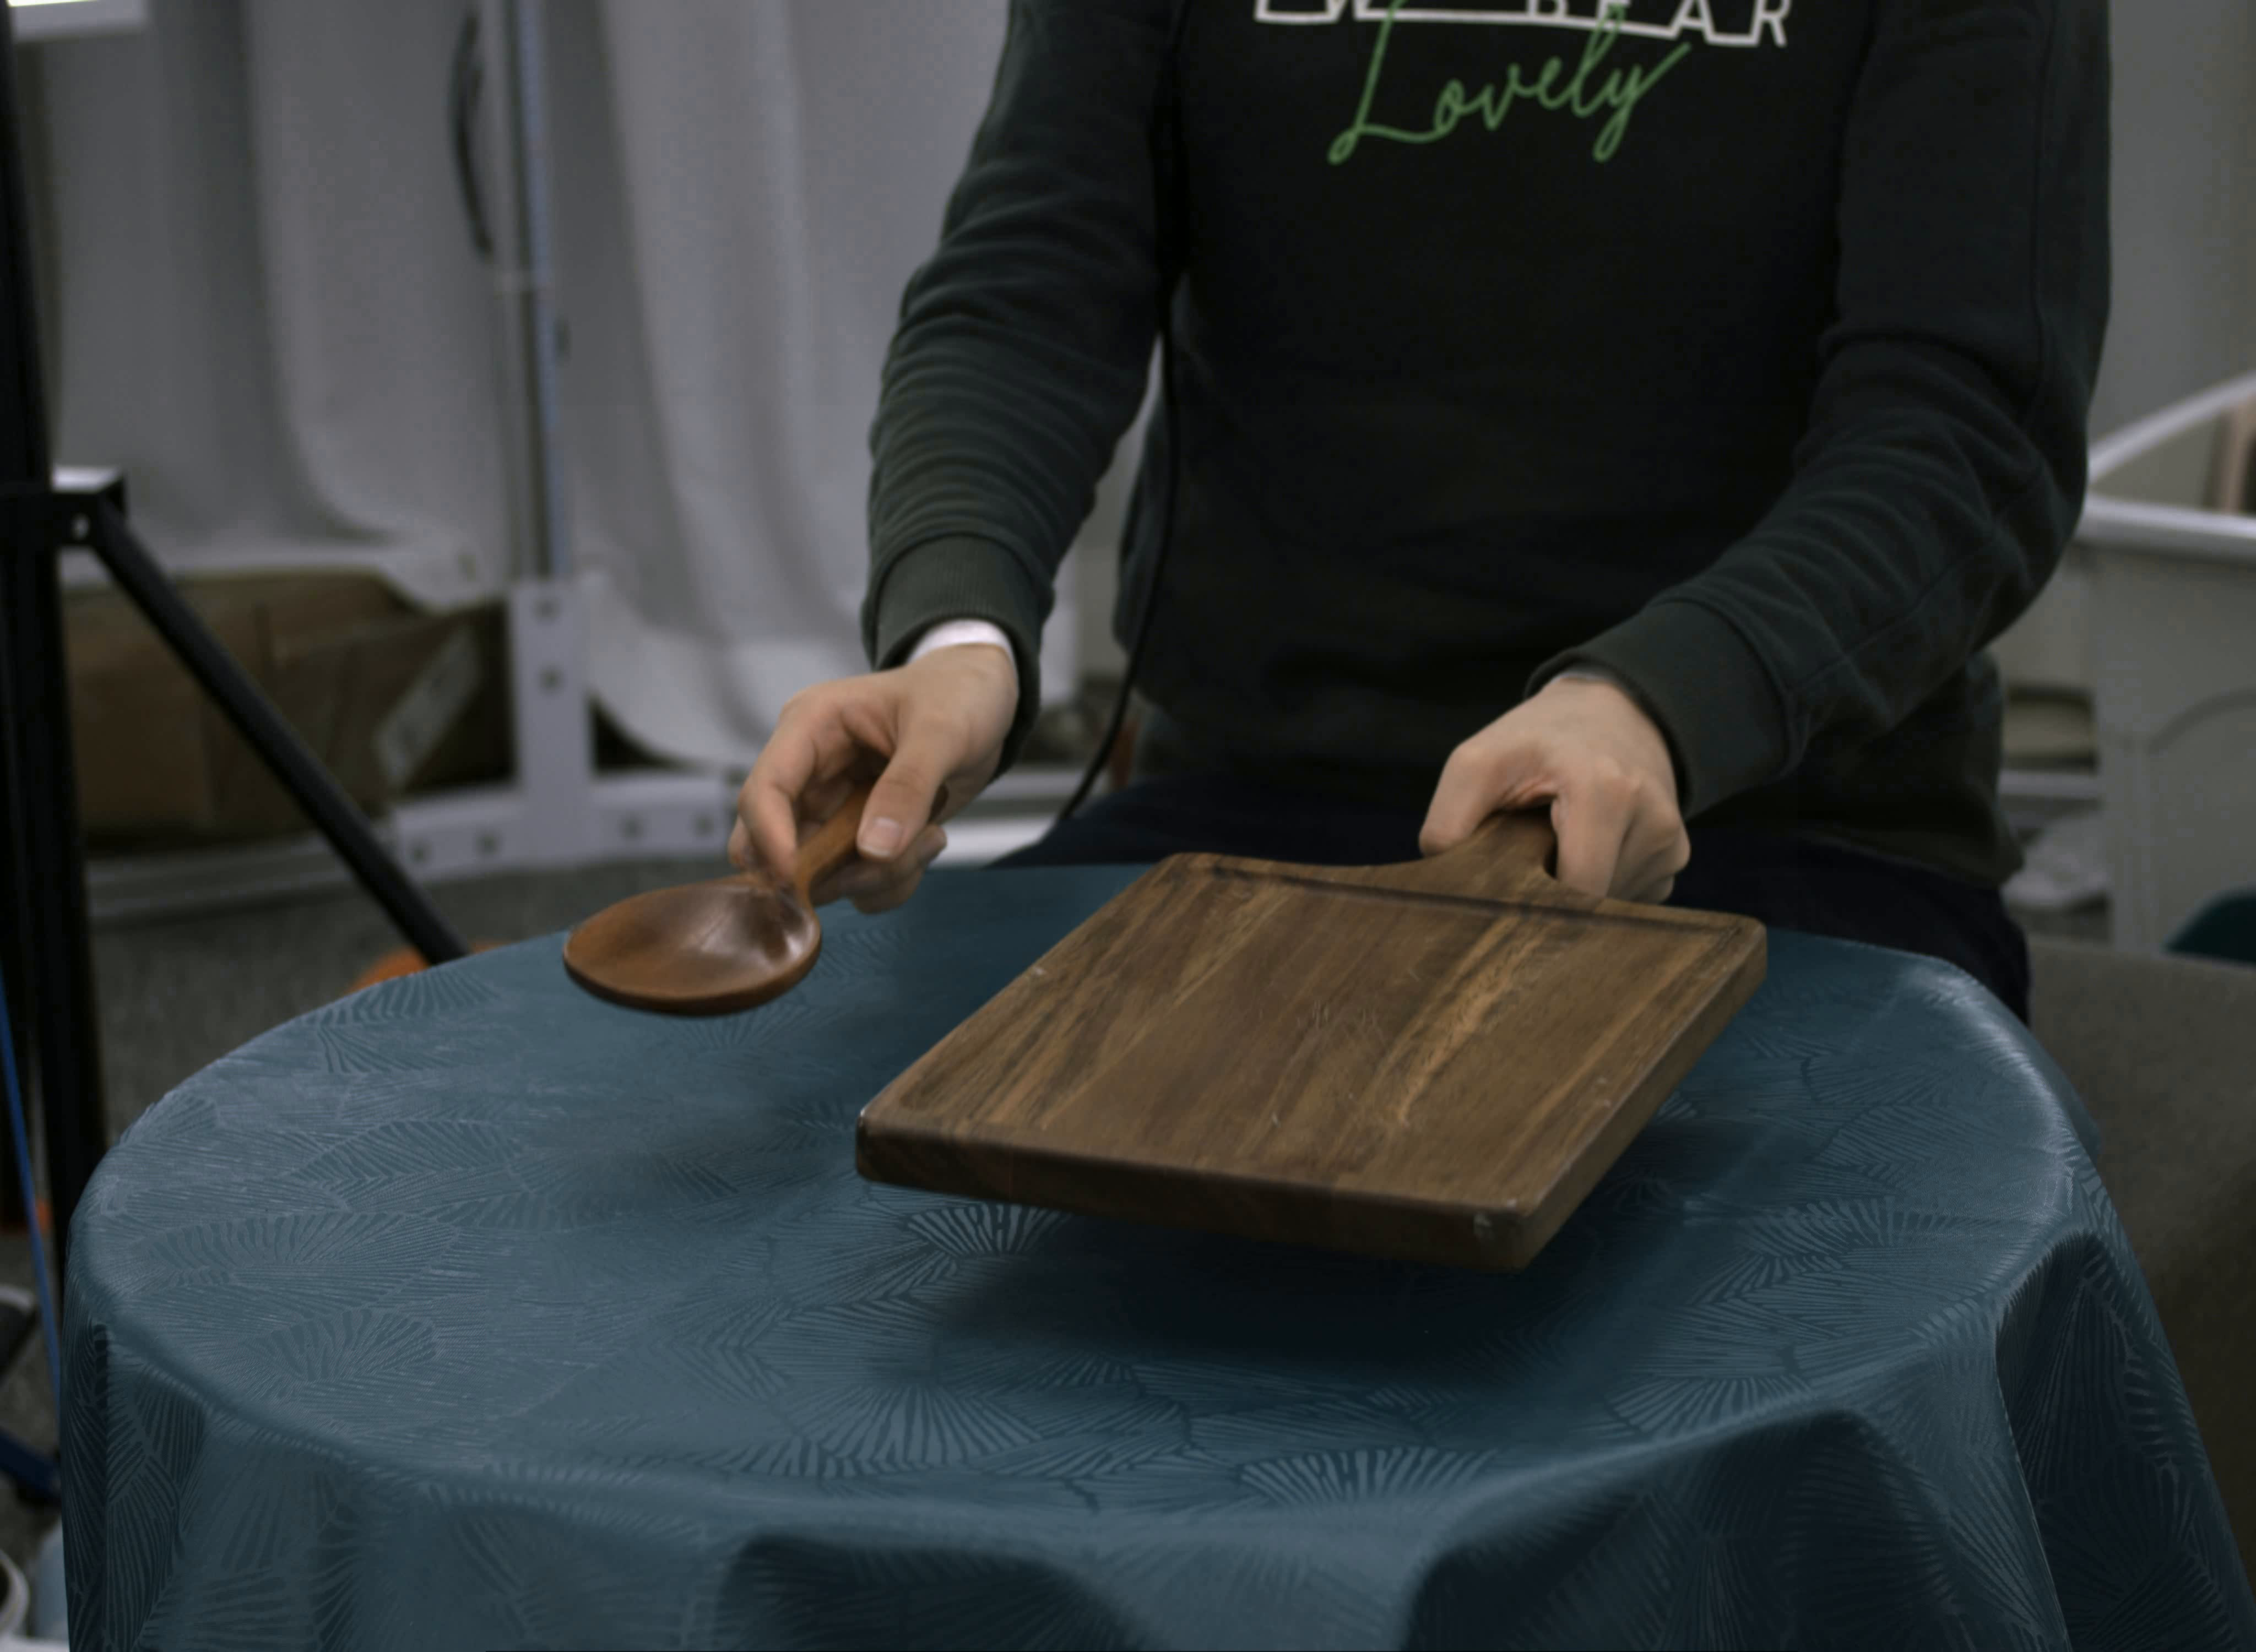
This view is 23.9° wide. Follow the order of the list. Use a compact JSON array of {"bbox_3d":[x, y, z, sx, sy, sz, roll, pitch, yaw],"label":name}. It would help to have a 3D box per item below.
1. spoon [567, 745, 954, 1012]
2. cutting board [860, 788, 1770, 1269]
[{"bbox_3d":[-0.104,0.017,1.653,0.076,0.017,0.213,8,23,21],"label":"spoon"},{"bbox_3d":[0.077,0.049,1.561,0.203,0.023,0.348,5,19,22],"label":"cutting board"}]
